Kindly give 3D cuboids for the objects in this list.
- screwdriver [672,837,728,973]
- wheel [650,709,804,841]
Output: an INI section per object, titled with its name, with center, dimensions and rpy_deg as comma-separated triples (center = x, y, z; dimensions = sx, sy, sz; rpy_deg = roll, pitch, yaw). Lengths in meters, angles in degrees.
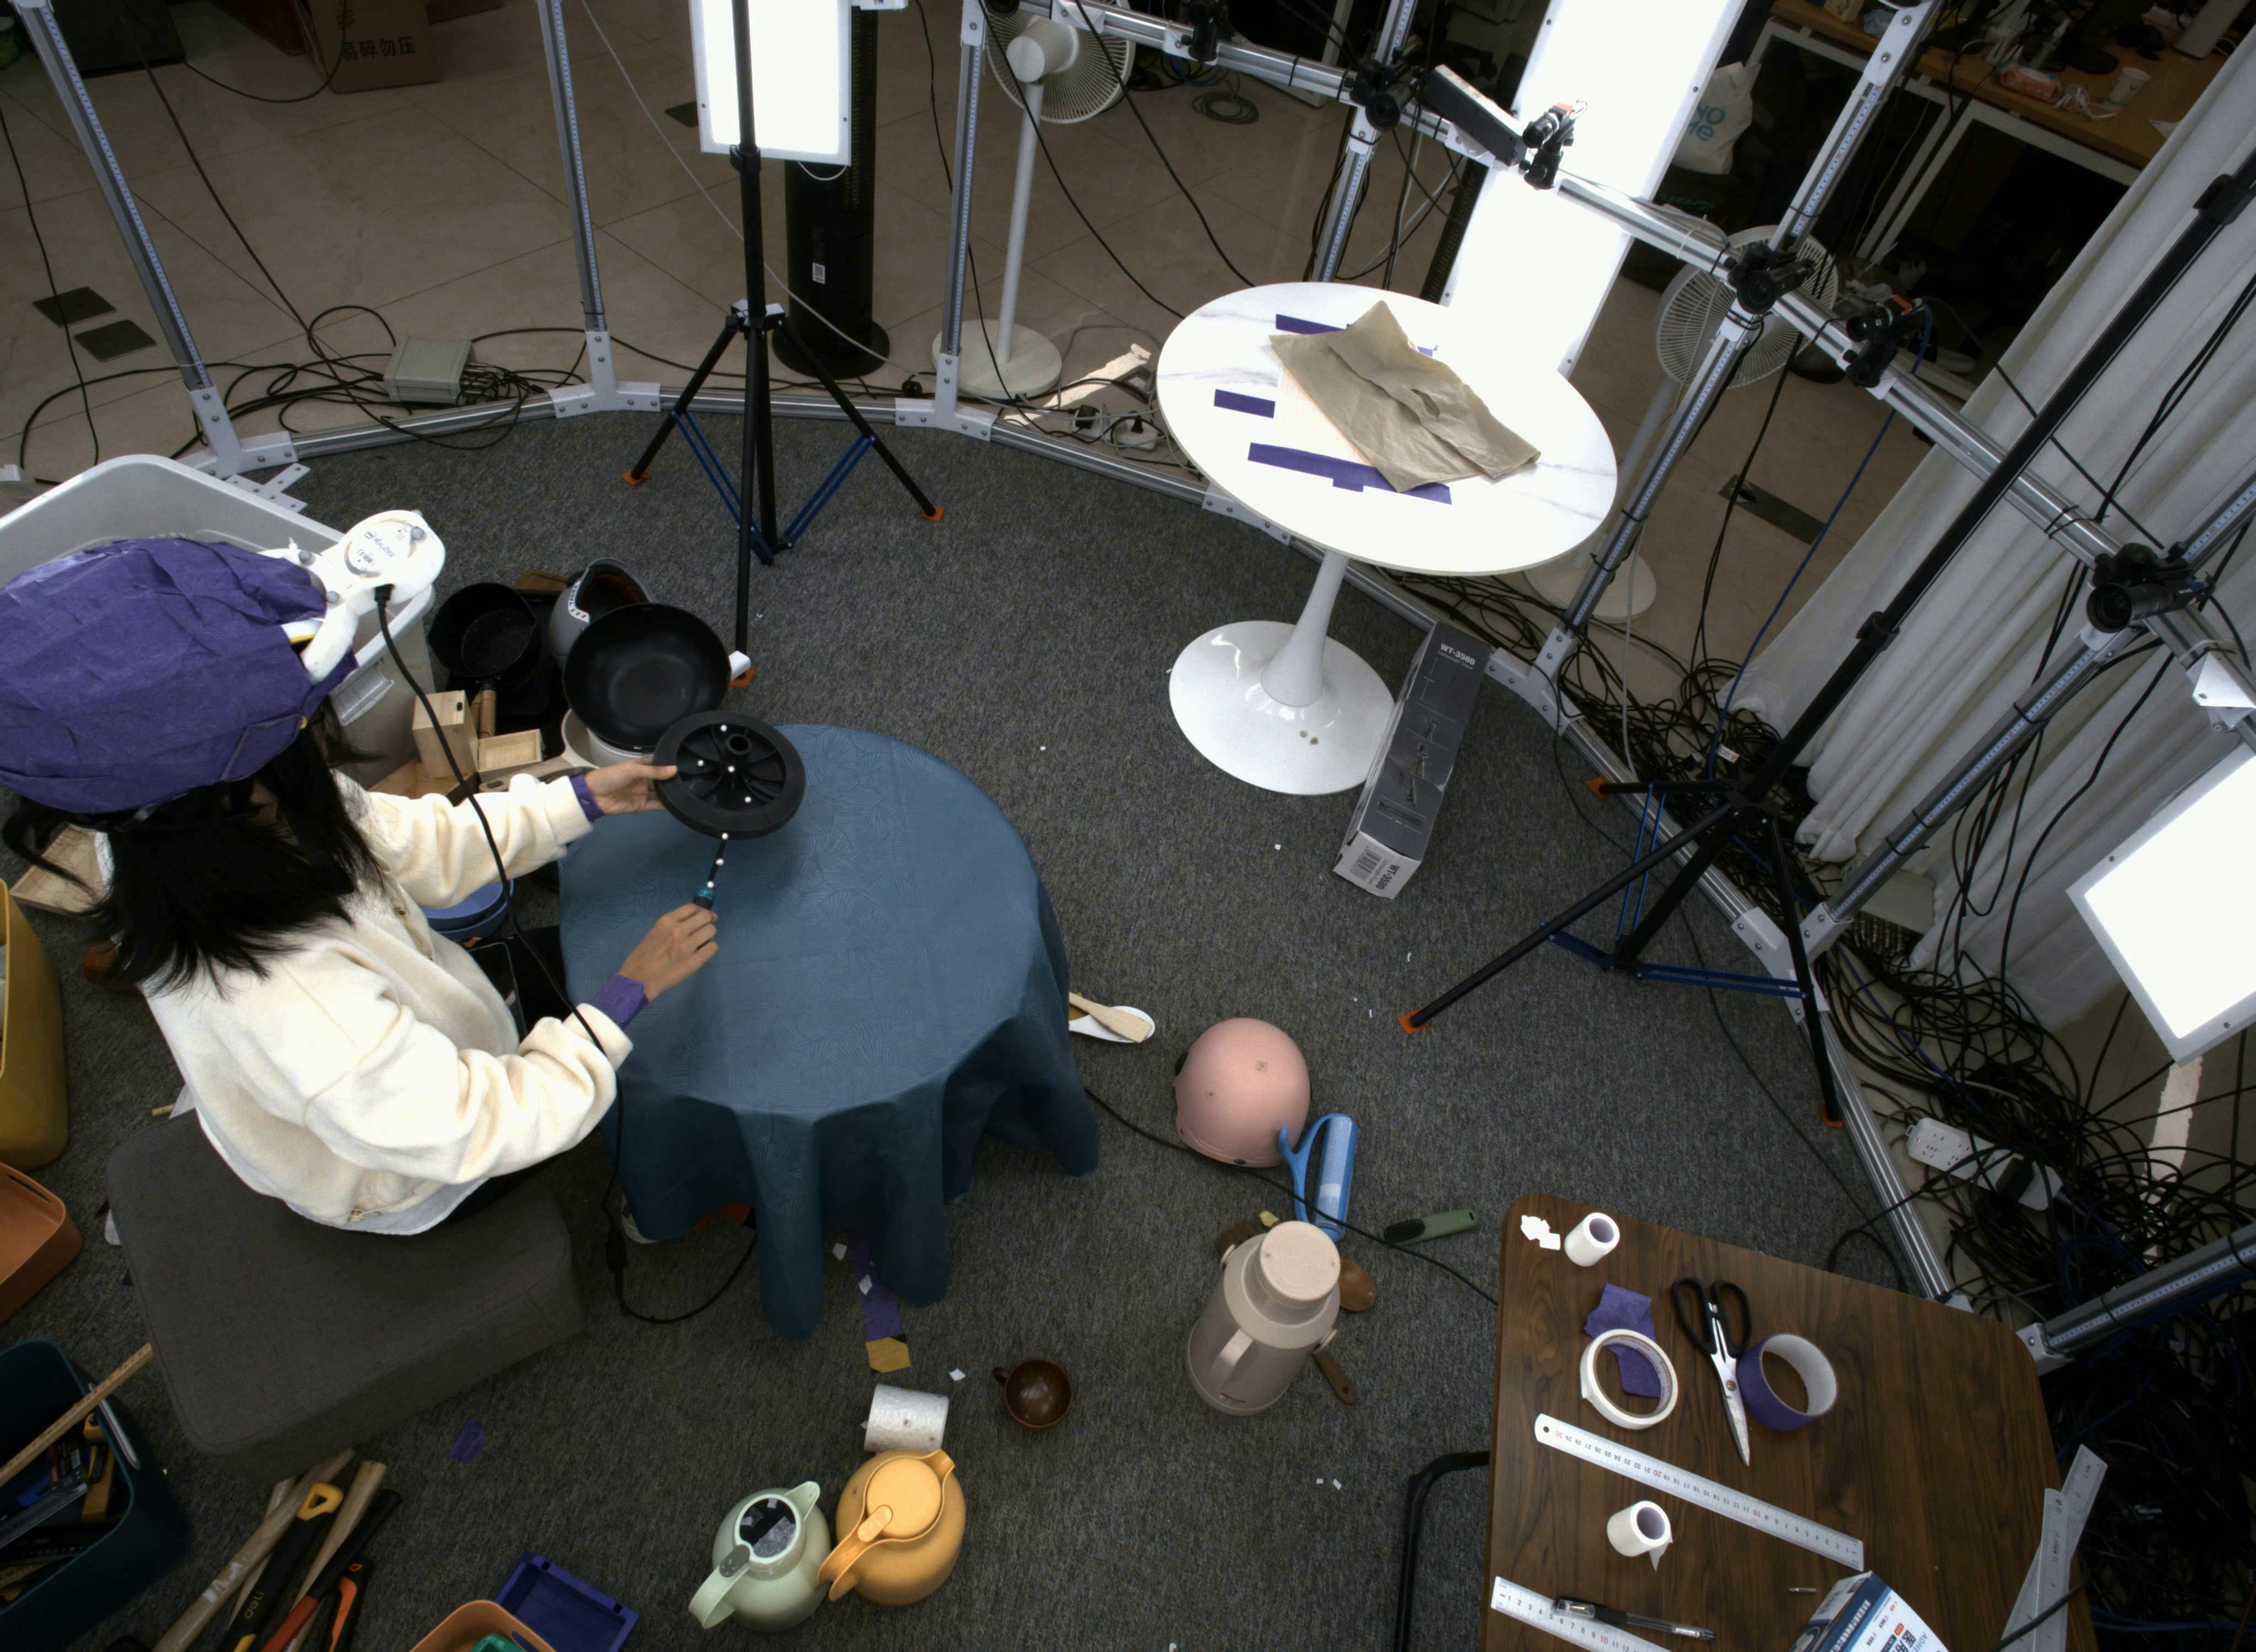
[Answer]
[screwdriver]
center = -0.491, 0.084, 1.498
dimensions = 0.033, 0.034, 0.187
rpy_deg = 10, 50, -5
[wheel]
center = -0.490, -0.078, 1.594
dimensions = 0.193, 0.079, 0.184
rpy_deg = 11, 53, -27
